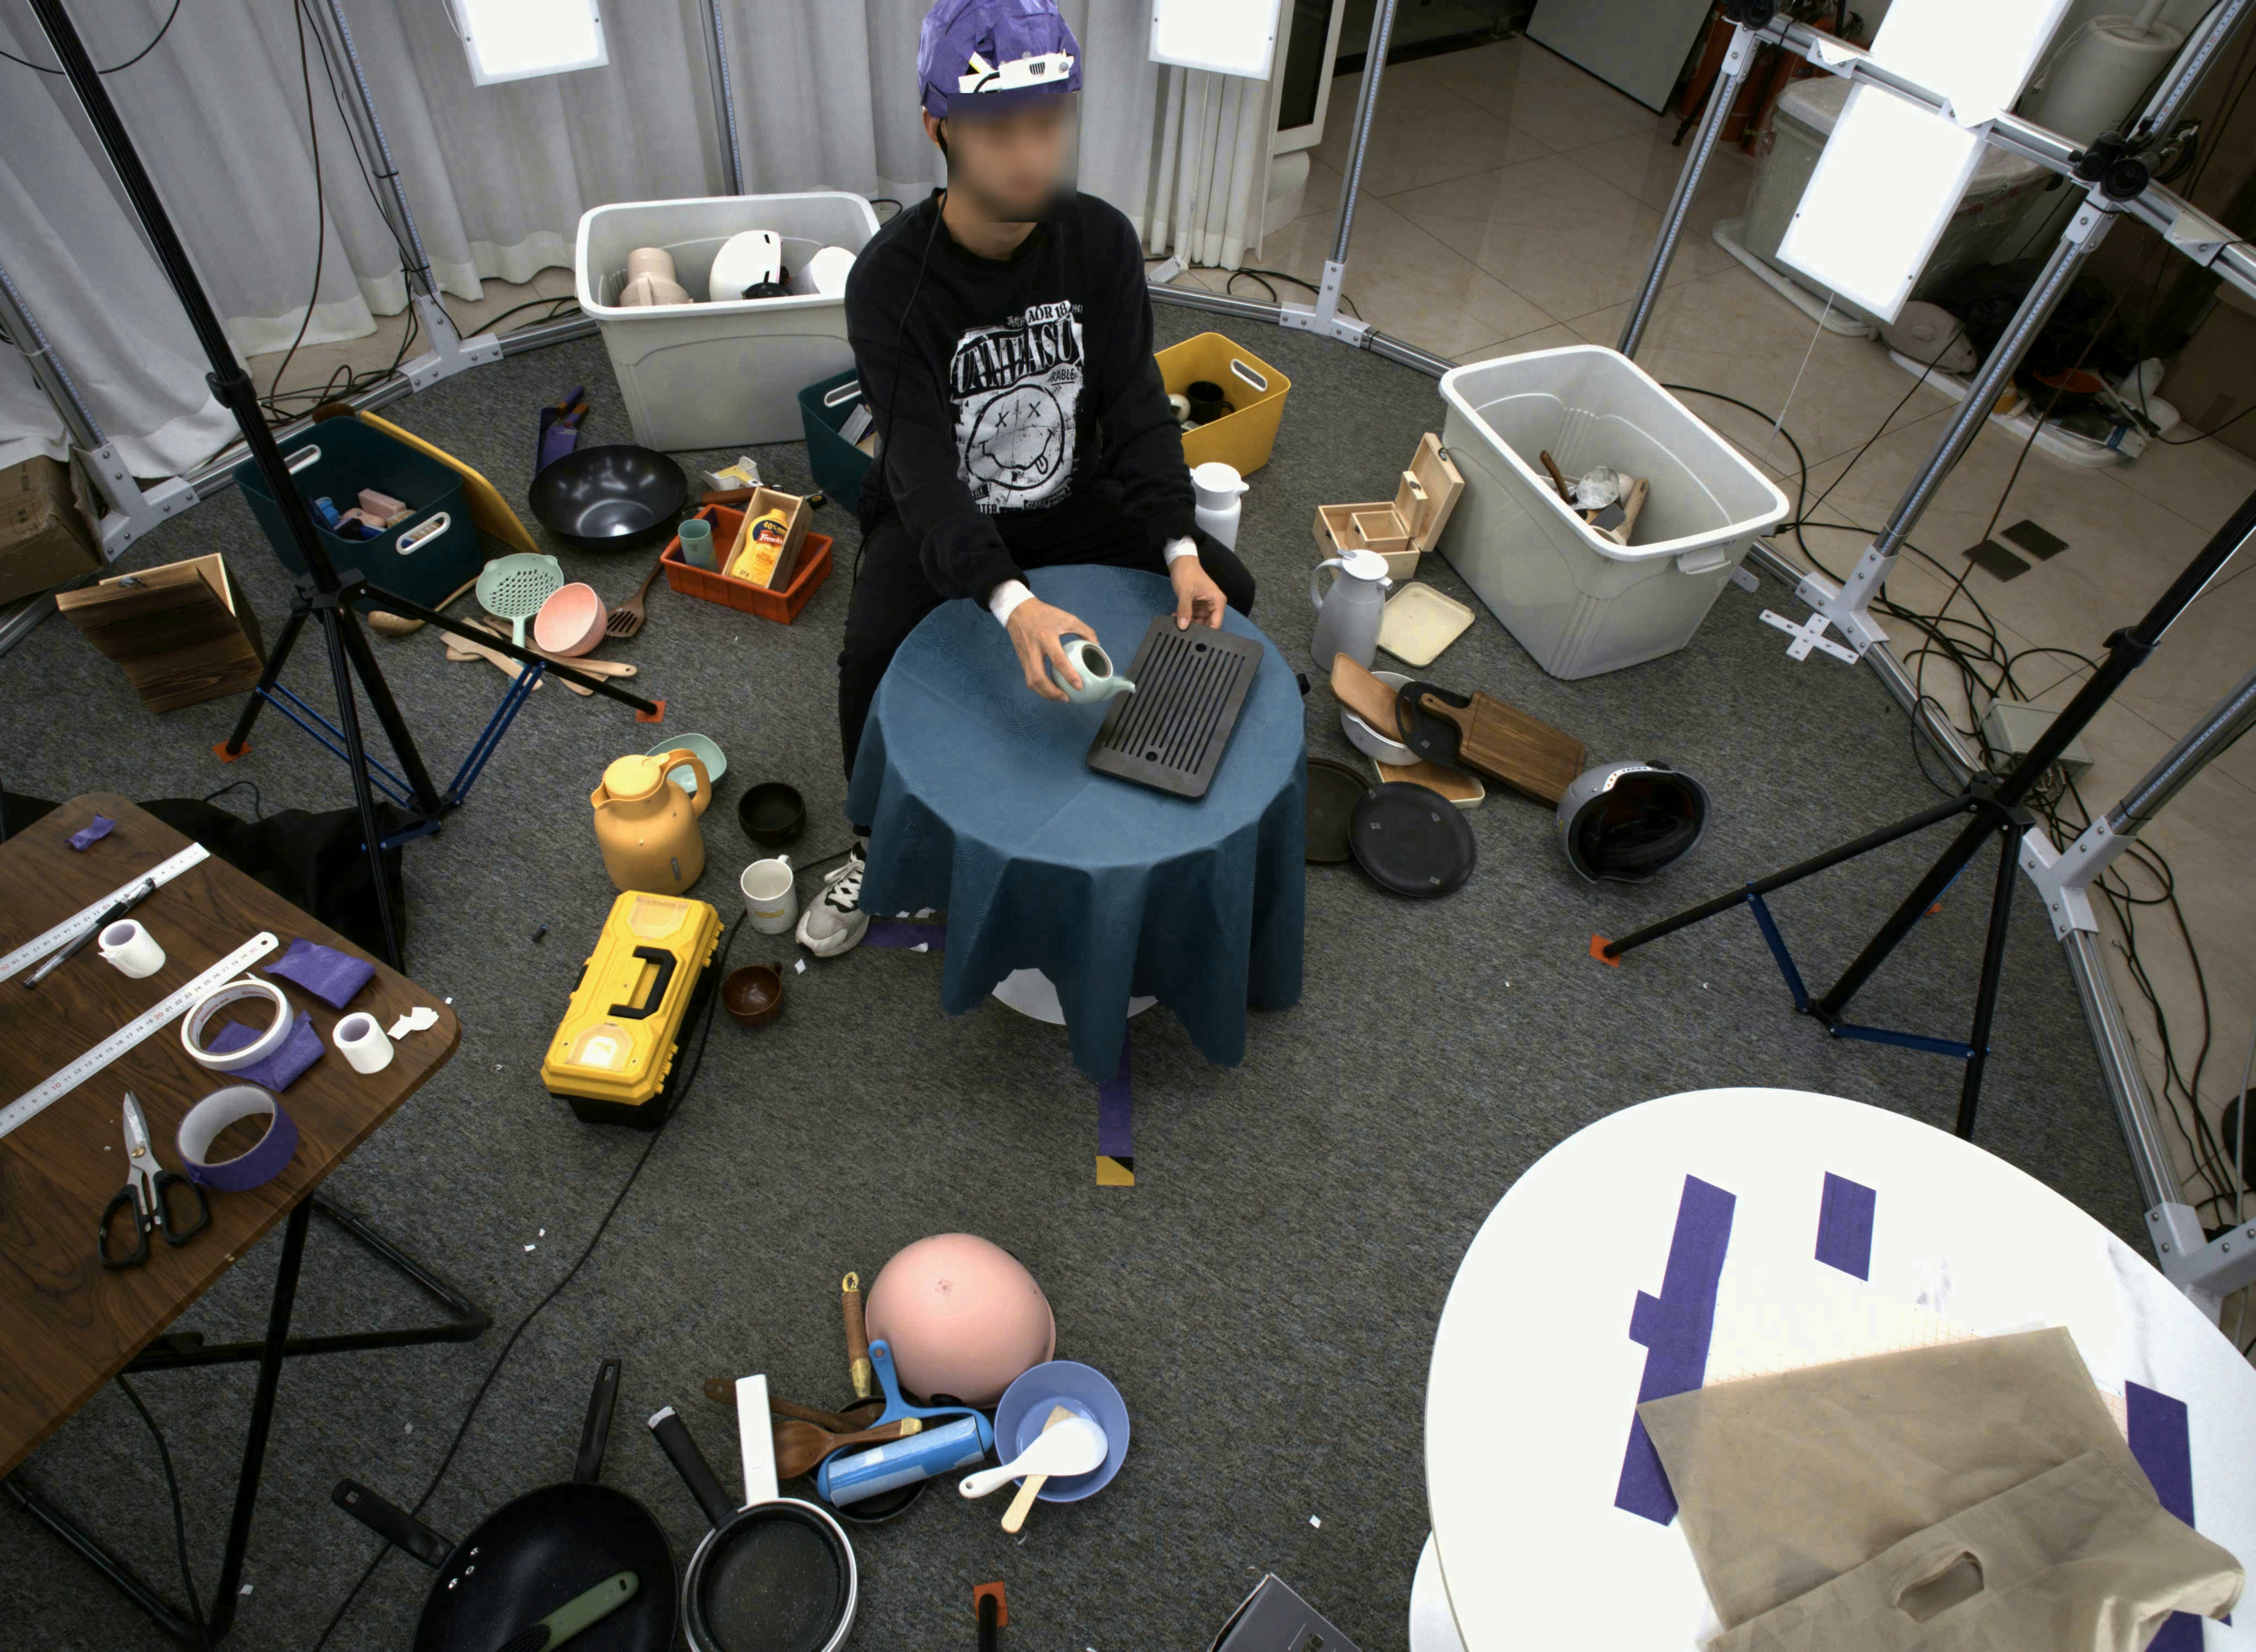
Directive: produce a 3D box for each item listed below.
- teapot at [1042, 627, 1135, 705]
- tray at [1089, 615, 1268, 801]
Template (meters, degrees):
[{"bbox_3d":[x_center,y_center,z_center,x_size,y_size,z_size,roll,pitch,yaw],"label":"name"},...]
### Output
[{"bbox_3d":[-0.063,-0.208,1.726,0.142,0.074,0.090,38,41,-24],"label":"teapot"},{"bbox_3d":[0.074,-0.170,1.796,0.171,0.018,0.312,17,54,11],"label":"tray"}]
